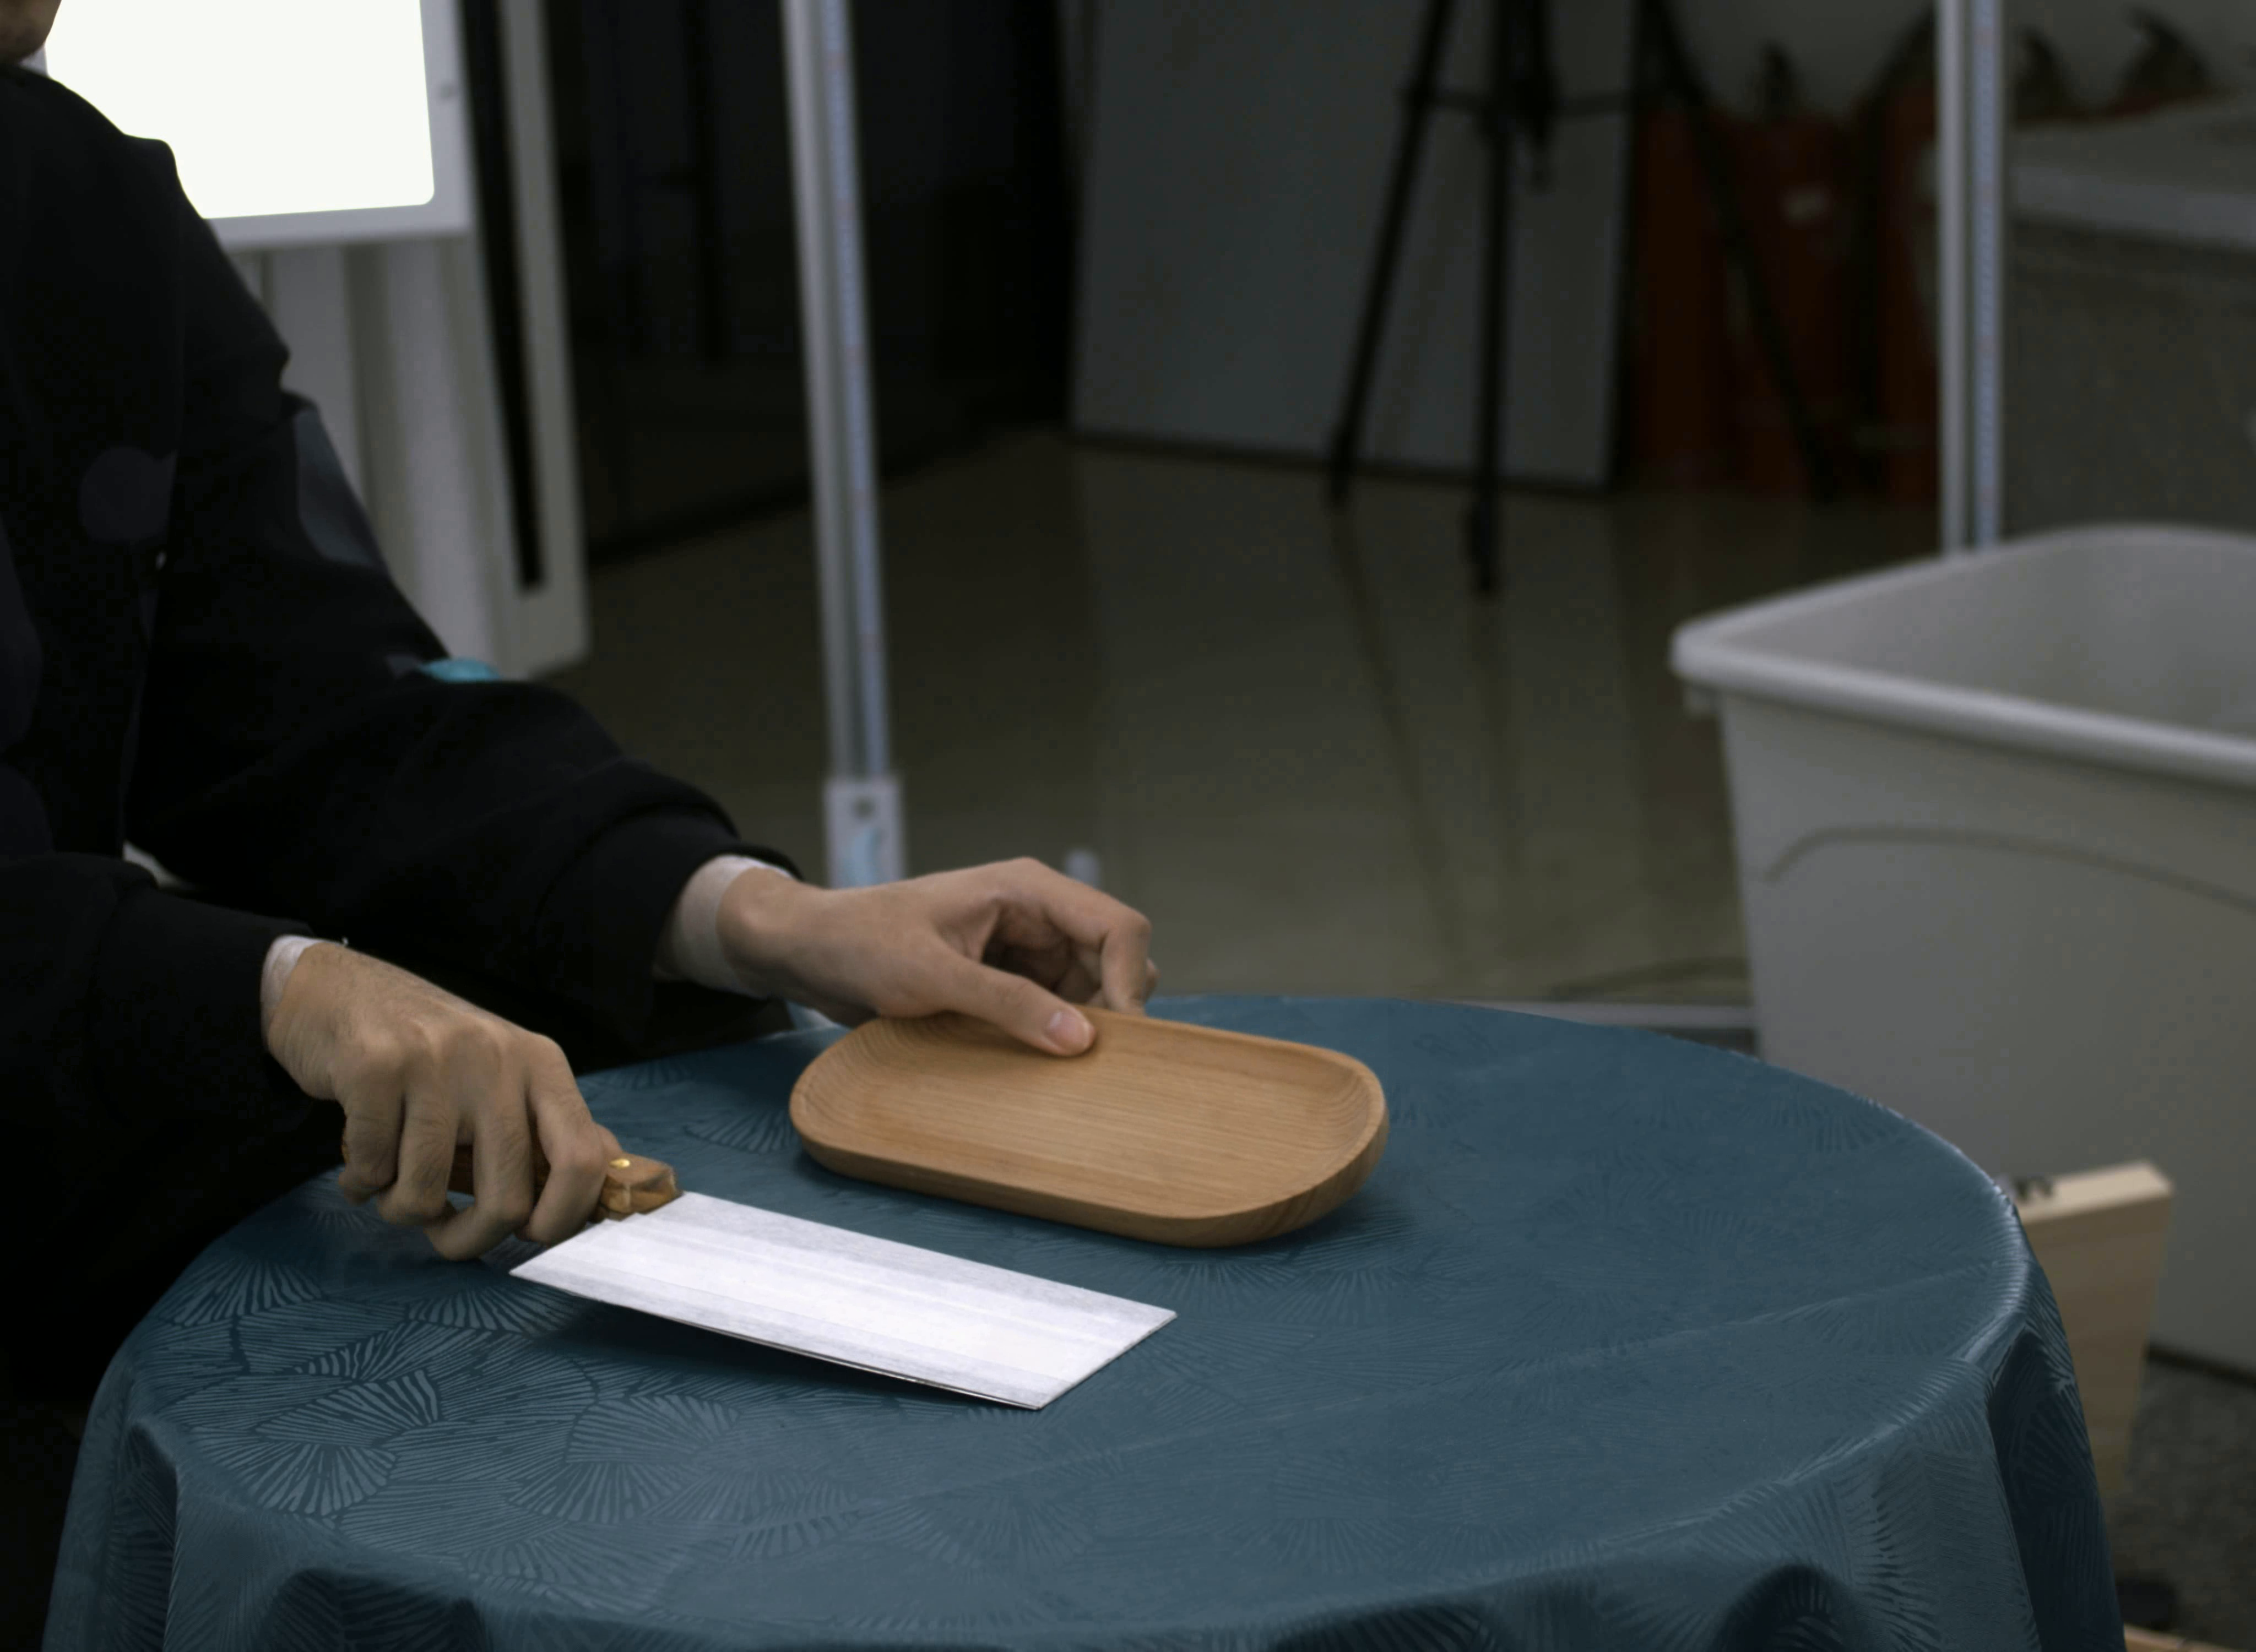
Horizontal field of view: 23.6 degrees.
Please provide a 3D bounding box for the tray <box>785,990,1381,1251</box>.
[{"bbox_3d":[-0.016,0.097,1.787,0.233,0.020,0.100,7,35,40],"label":"tray"}]

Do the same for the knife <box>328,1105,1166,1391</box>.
[{"bbox_3d":[-0.136,0.134,1.684,0.307,0.021,0.091,11,19,28],"label":"knife"}]
